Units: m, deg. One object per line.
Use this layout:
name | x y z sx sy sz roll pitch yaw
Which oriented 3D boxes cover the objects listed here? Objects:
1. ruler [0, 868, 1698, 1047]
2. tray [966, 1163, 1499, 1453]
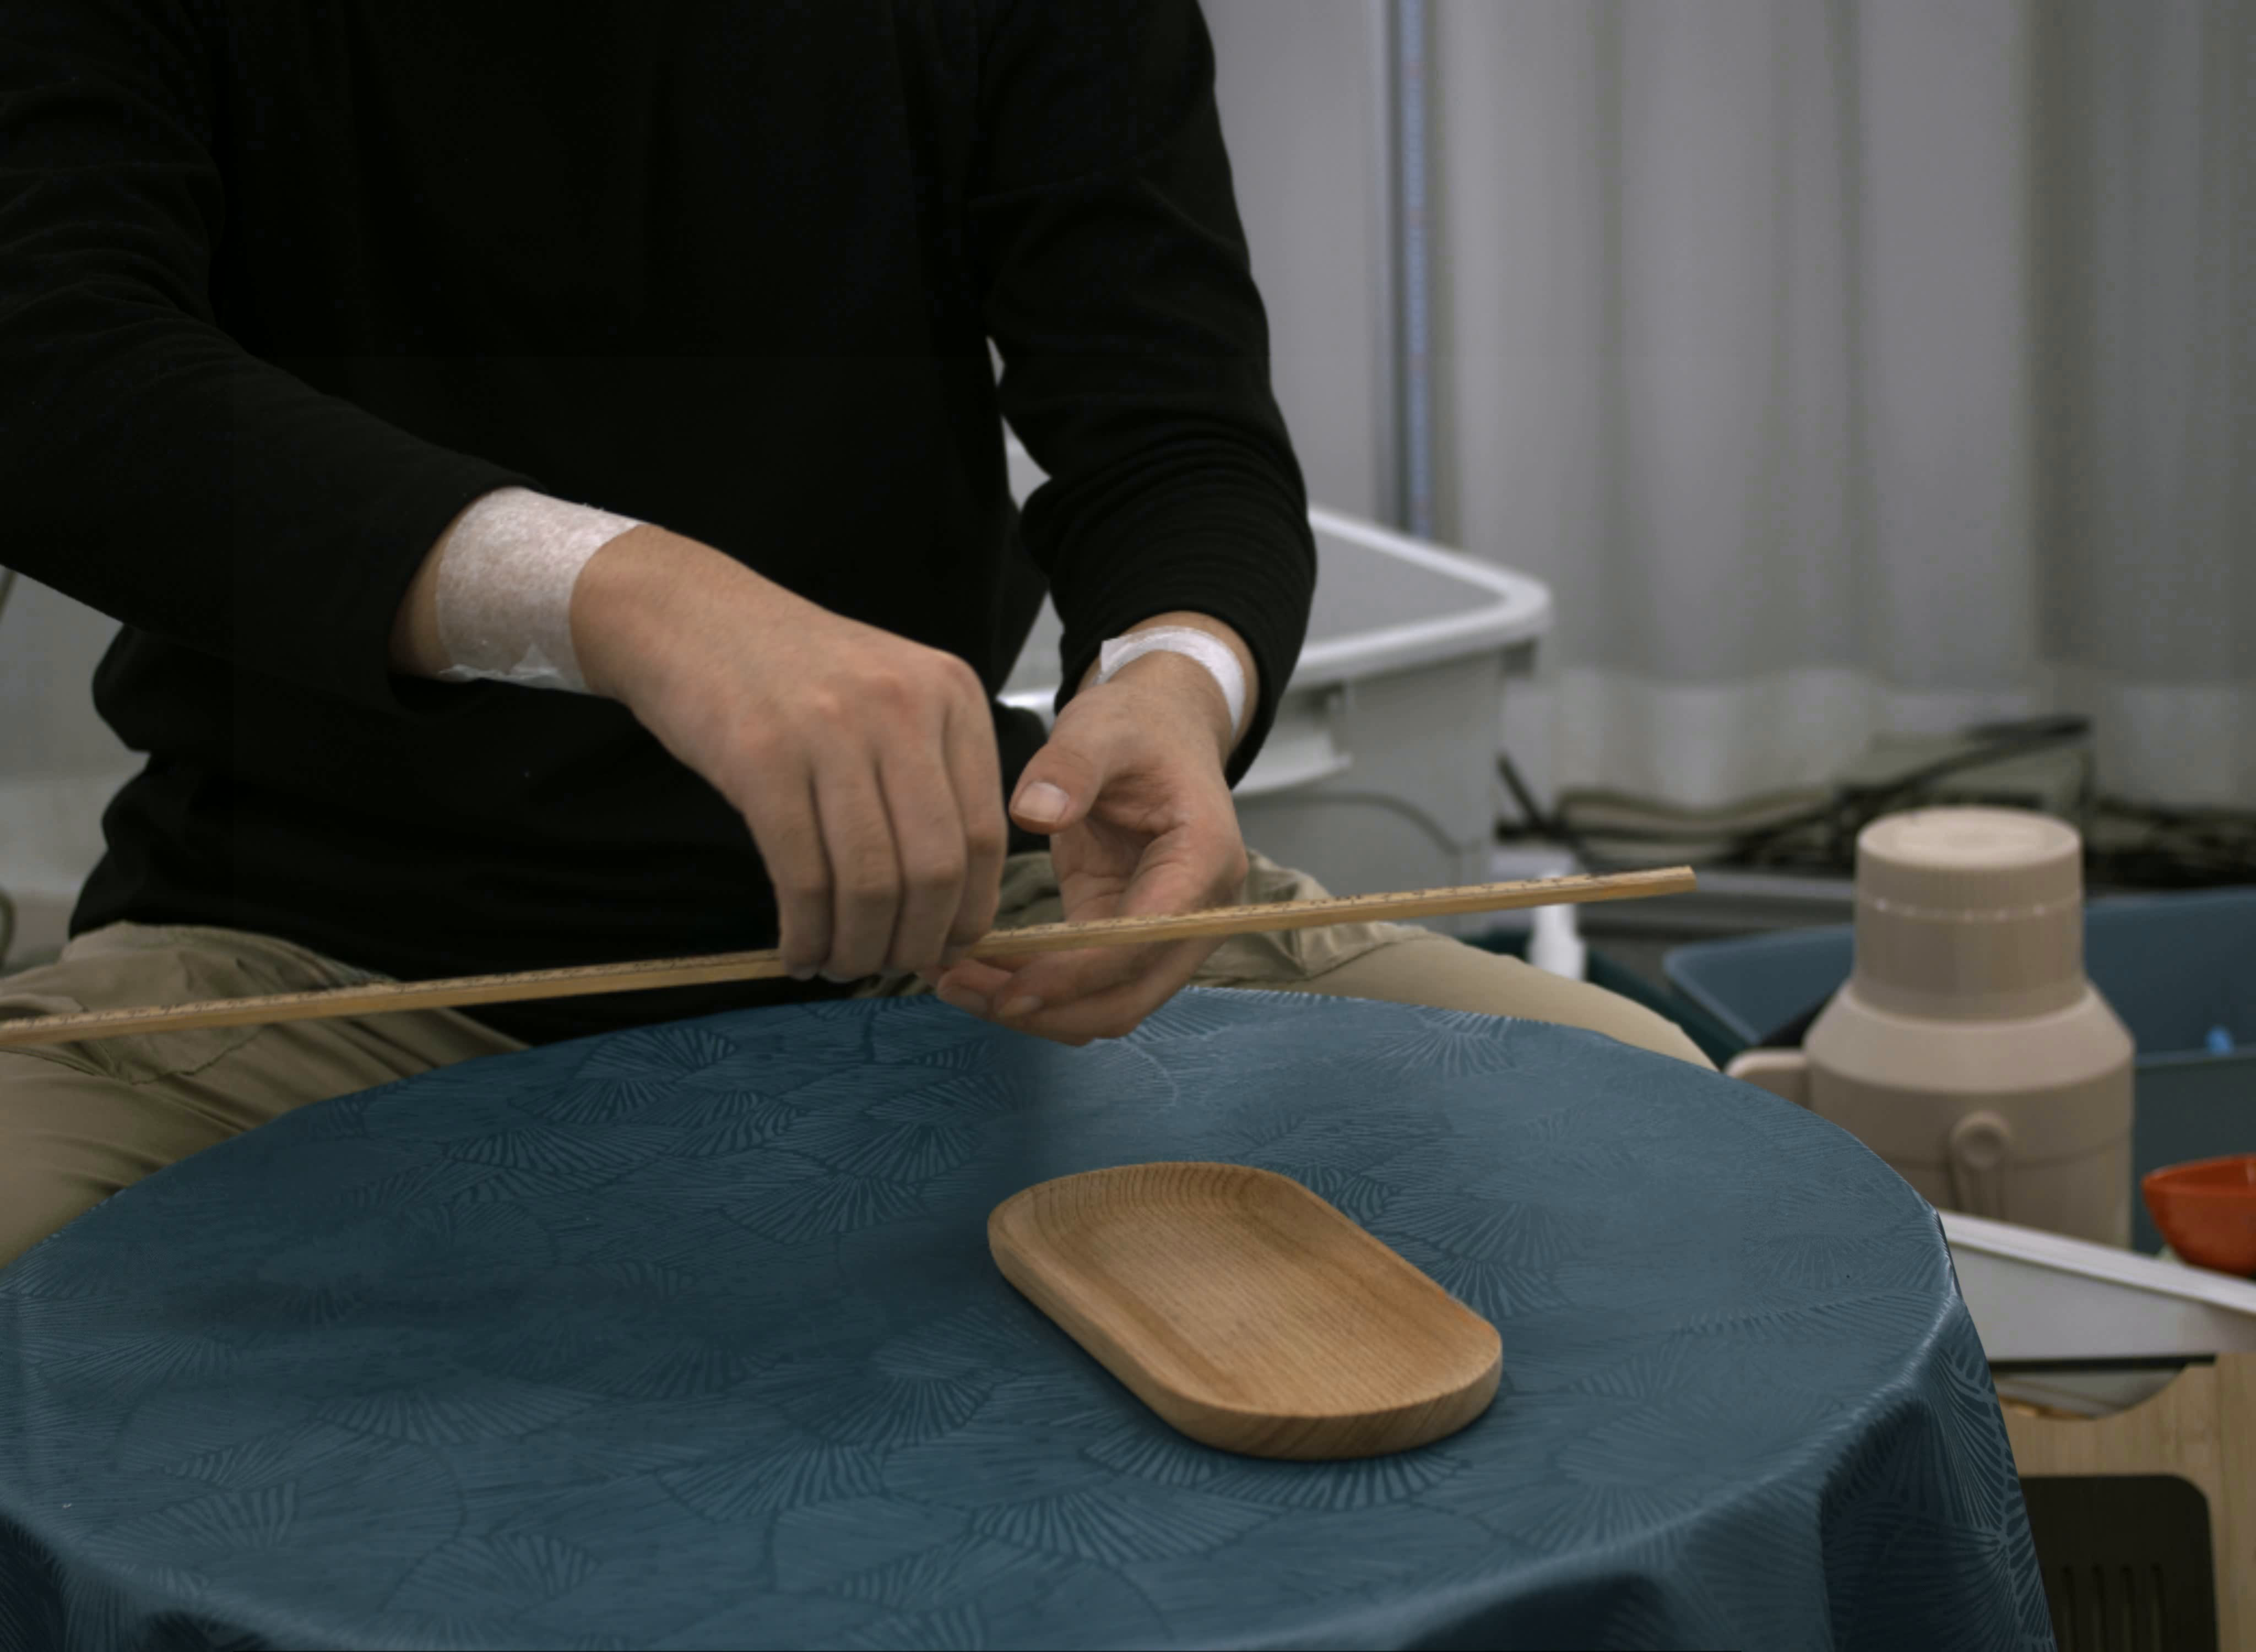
ruler | -0.083 0.038 1.599 0.499 0.006 0.027 -5 4 4
tray | 0.028 0.138 1.588 0.101 0.020 0.233 -8 14 -22
